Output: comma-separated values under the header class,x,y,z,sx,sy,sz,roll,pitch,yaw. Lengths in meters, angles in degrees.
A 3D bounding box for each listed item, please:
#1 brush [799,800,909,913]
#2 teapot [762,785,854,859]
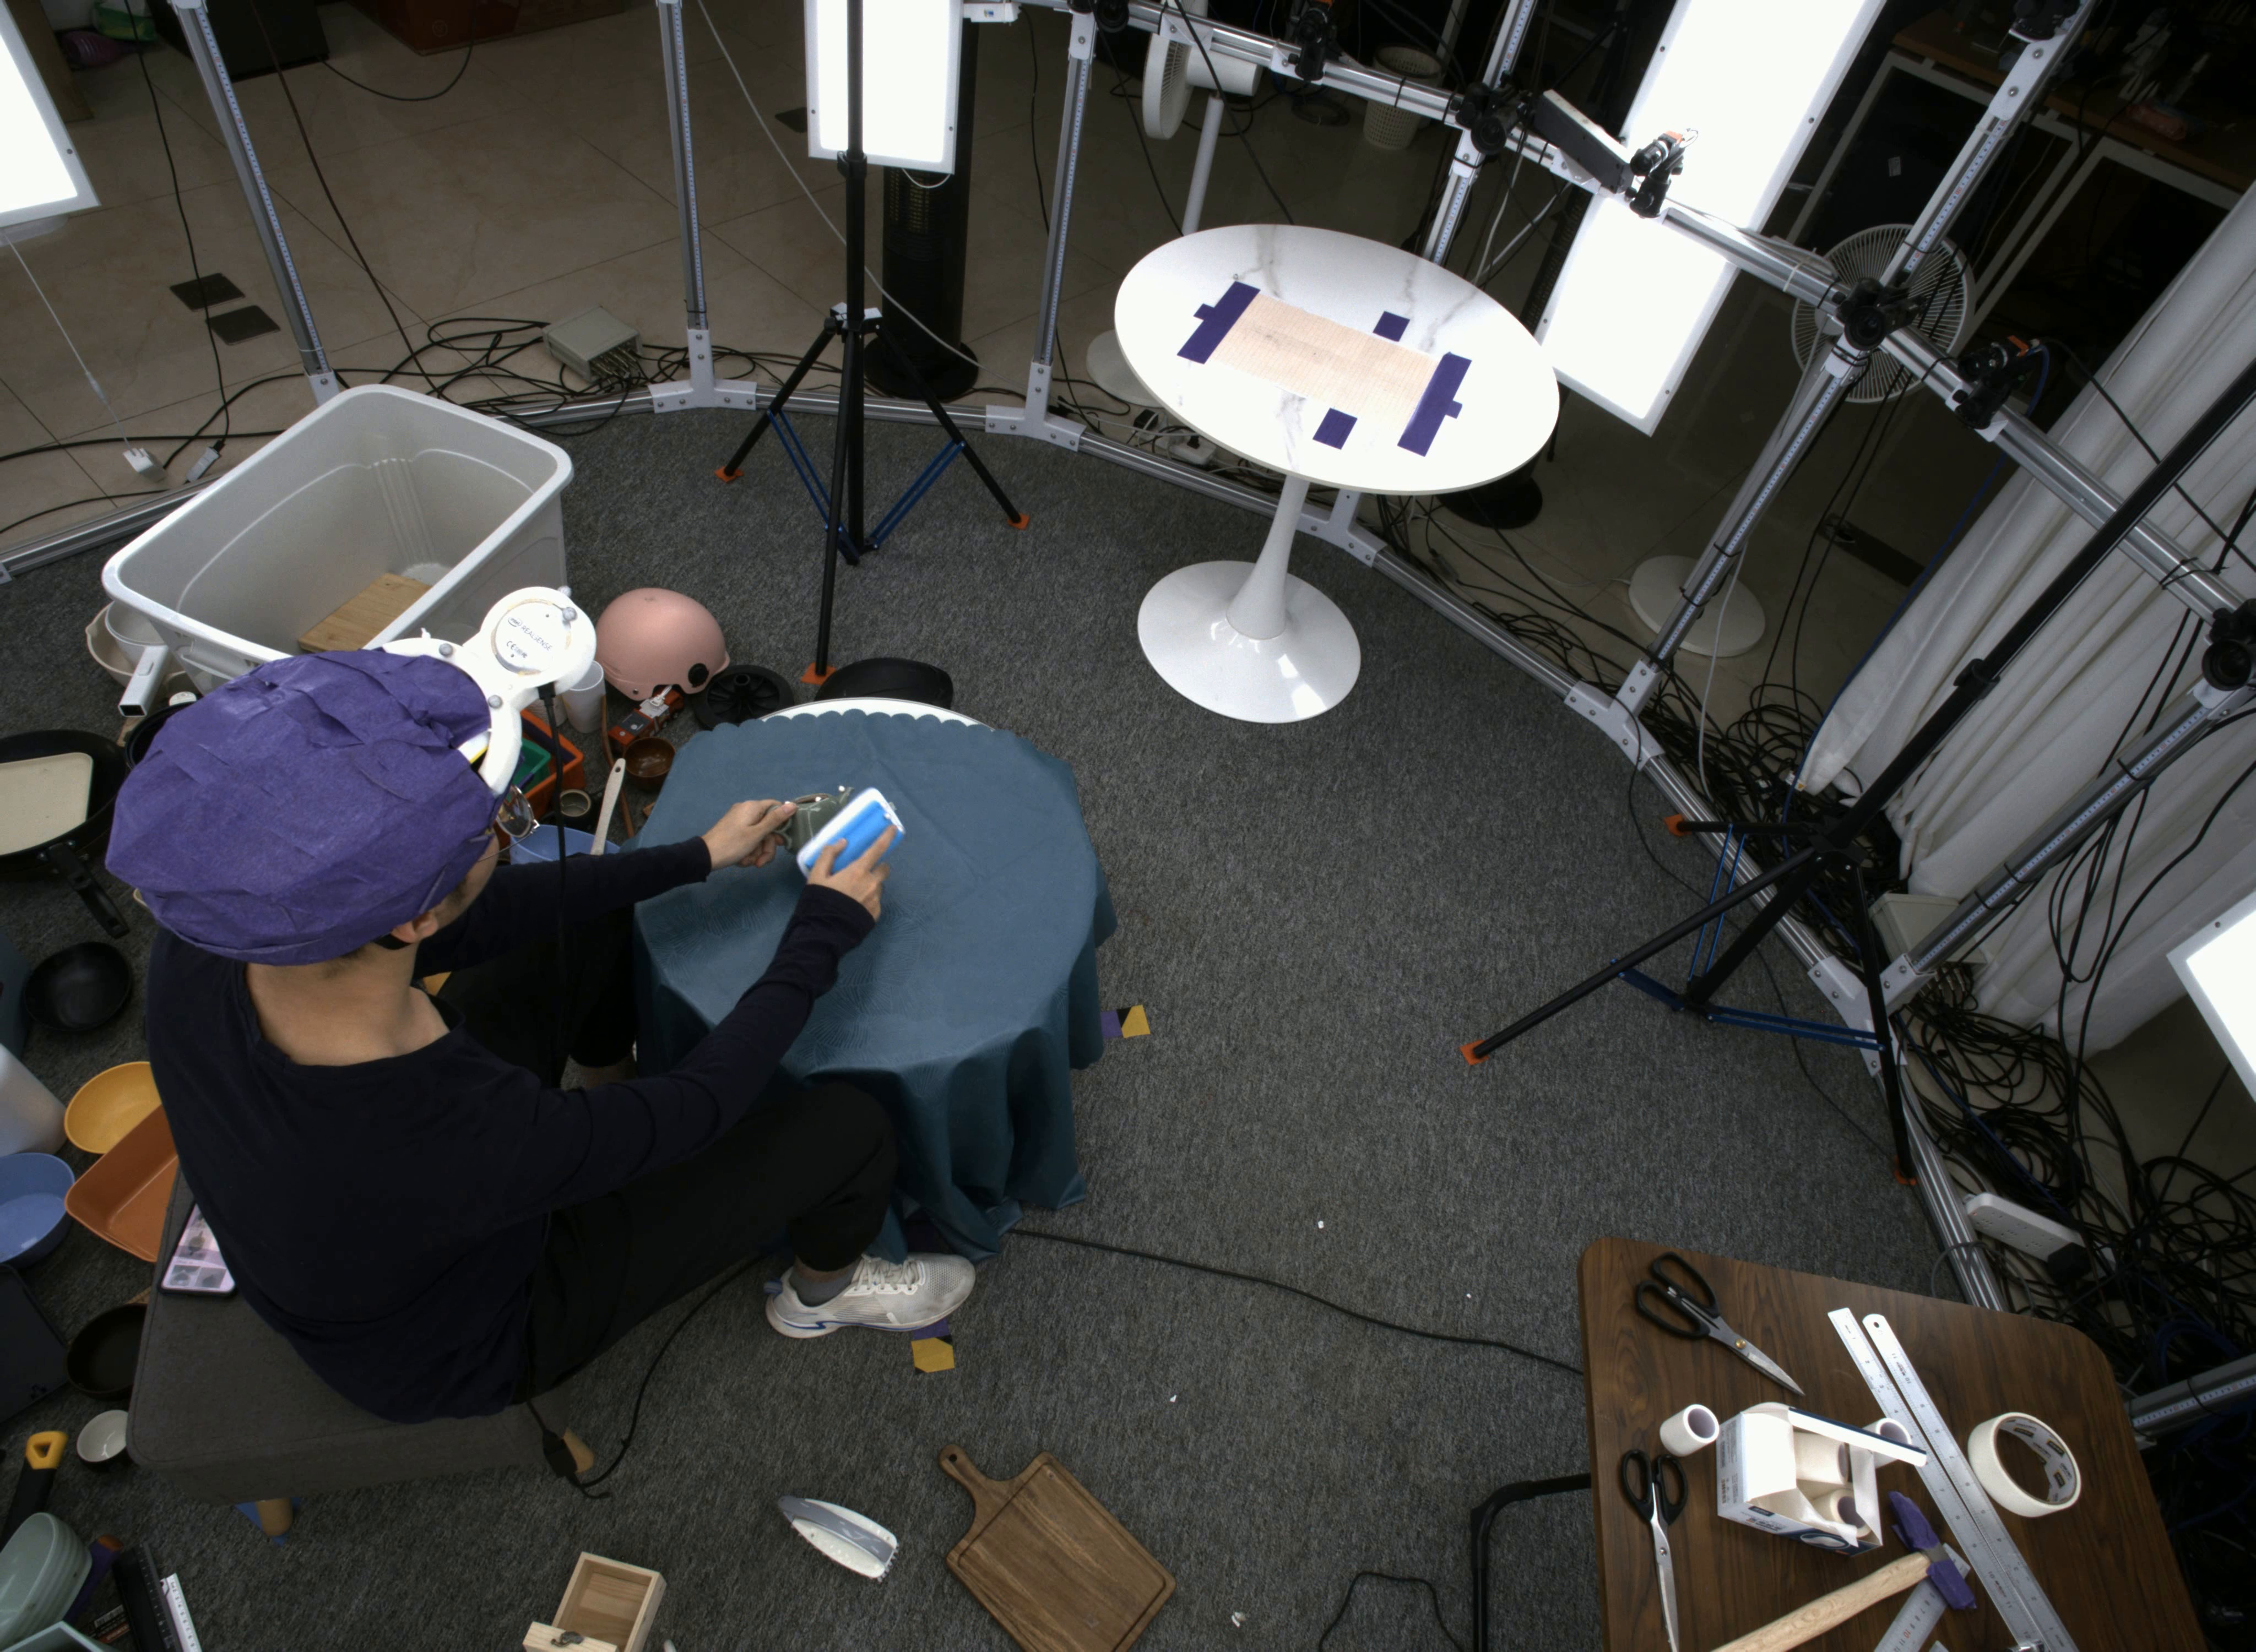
class,x,y,z,sx,sy,sz,roll,pitch,yaw
brush,-0.328,0.035,1.588,0.054,0.087,0.144,6,43,48
teapot,-0.401,-0.004,1.657,0.133,0.077,0.077,-22,22,-38
